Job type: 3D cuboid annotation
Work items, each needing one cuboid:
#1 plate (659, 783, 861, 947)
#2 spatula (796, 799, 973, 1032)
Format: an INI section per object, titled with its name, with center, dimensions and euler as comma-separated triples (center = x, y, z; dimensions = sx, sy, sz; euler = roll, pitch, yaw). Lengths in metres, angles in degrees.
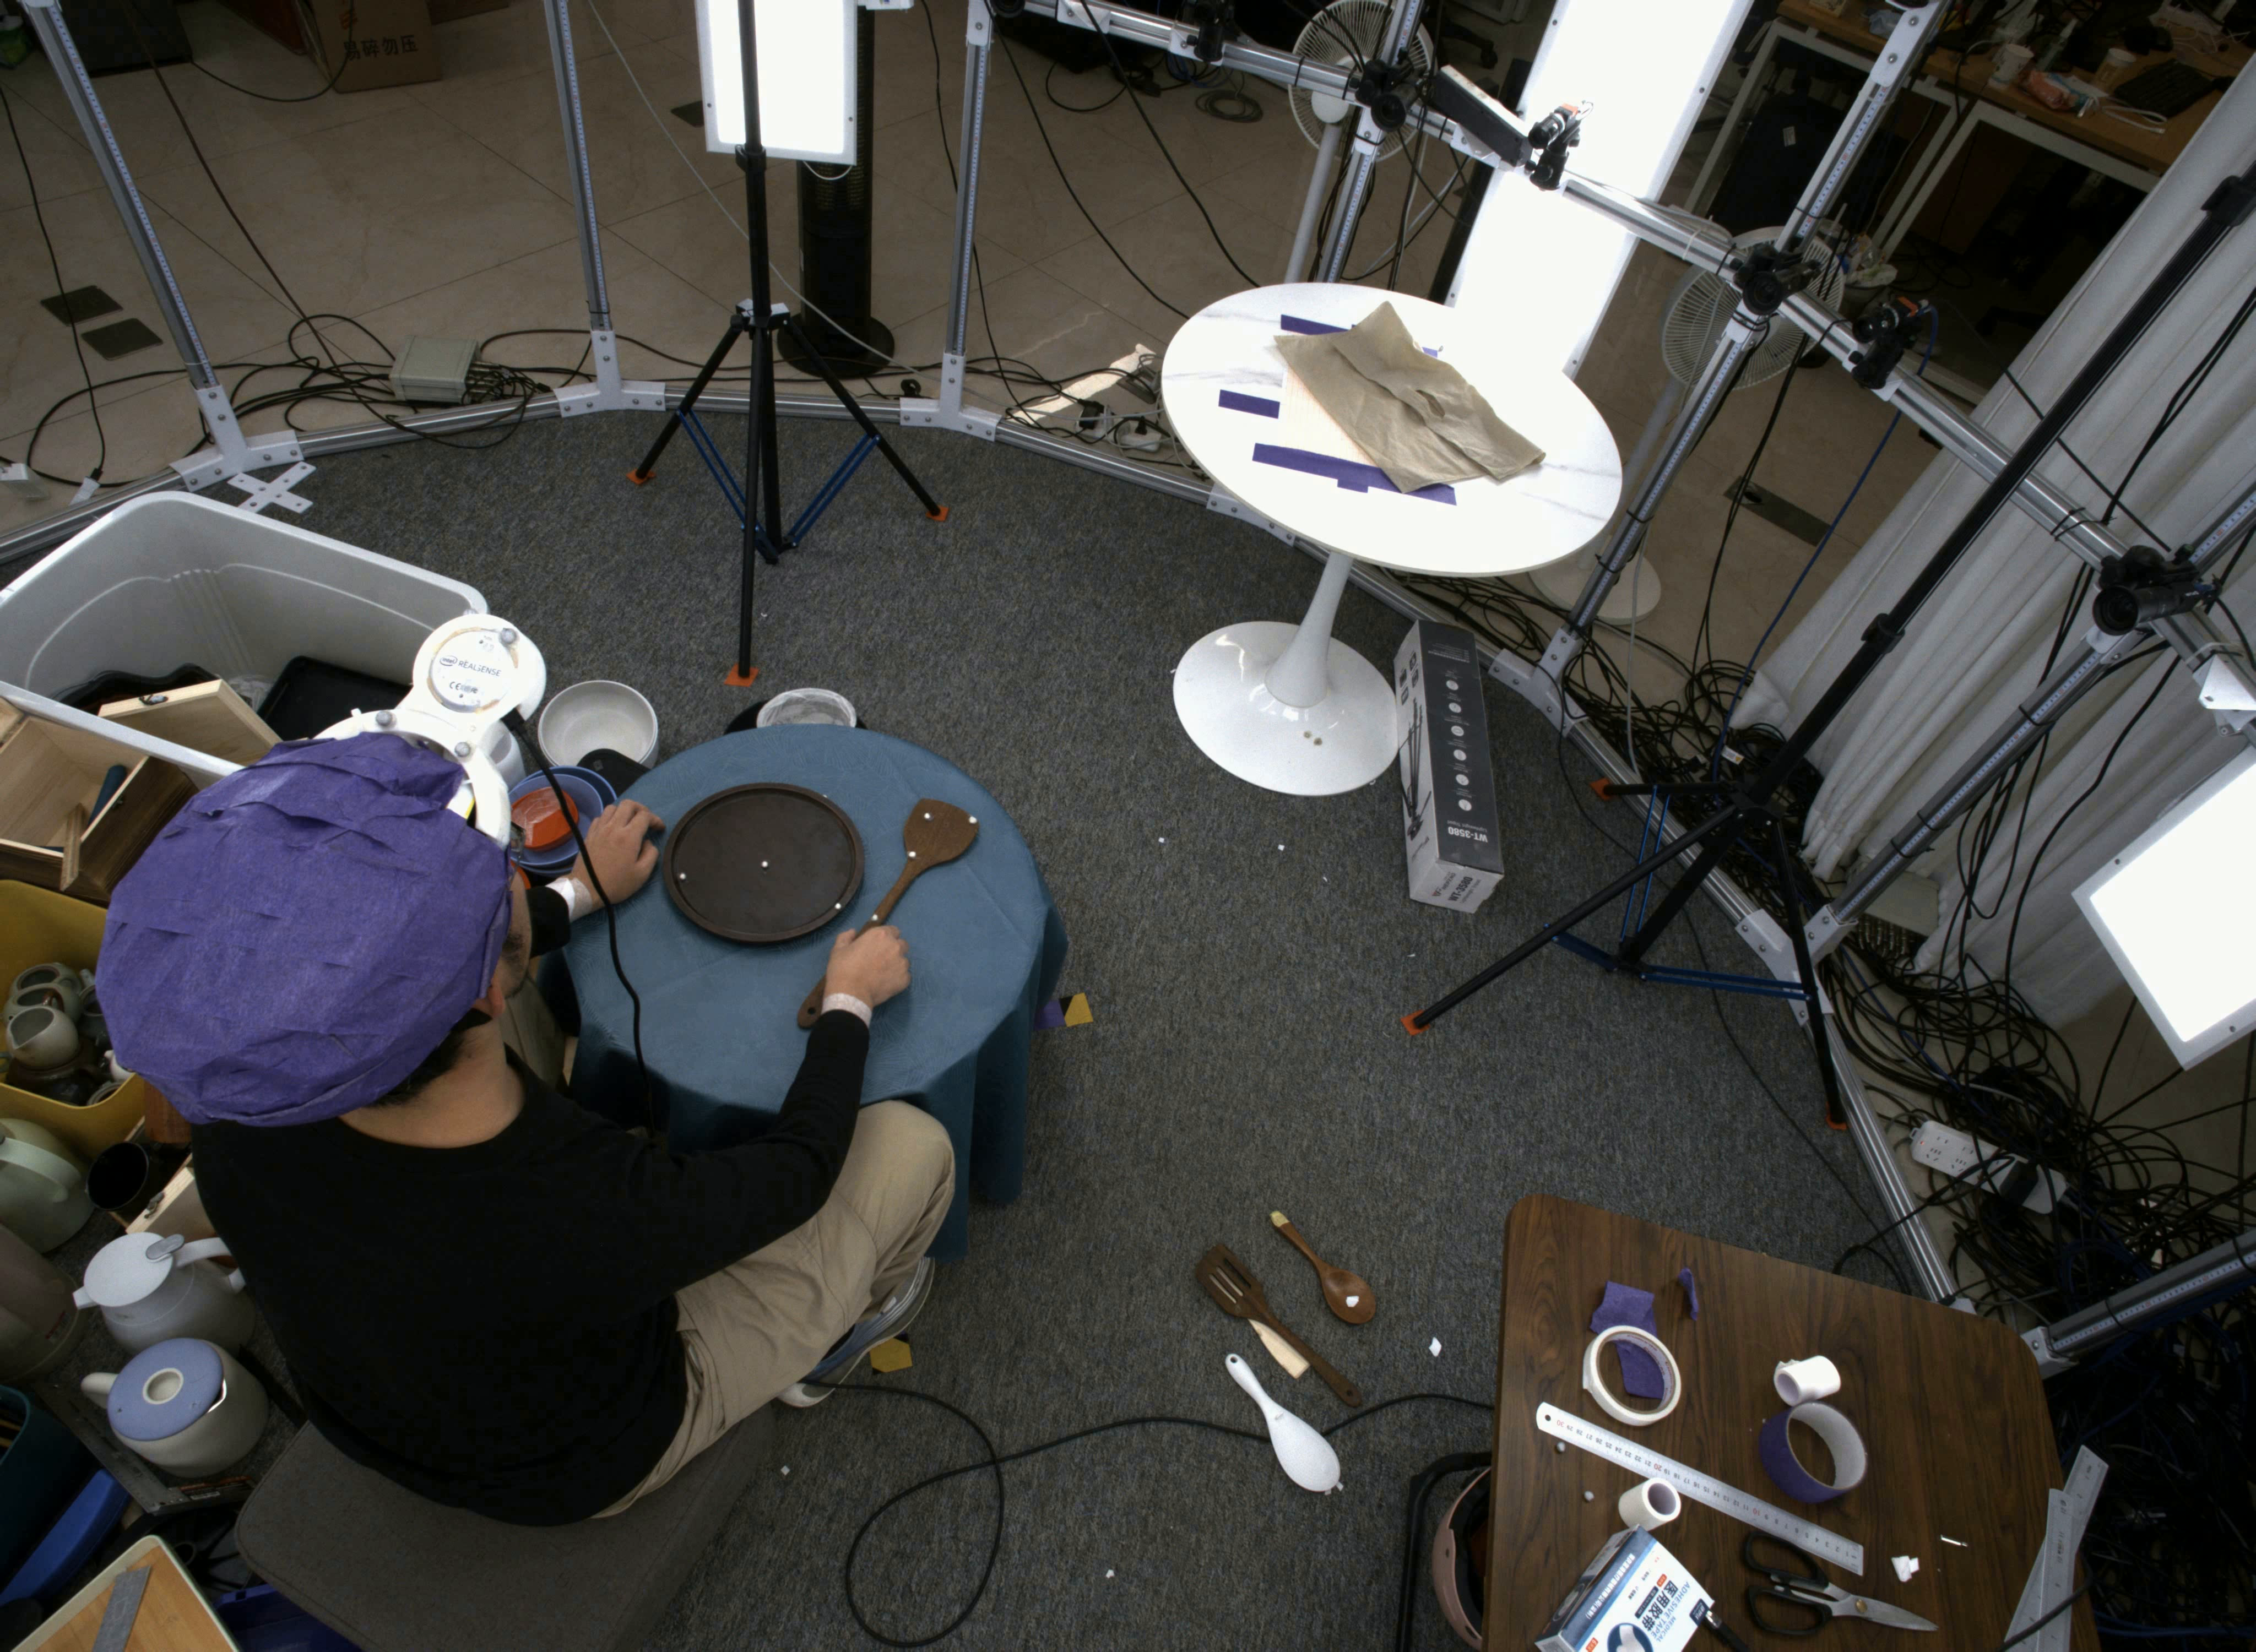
[plate]
center = -0.470, 0.047, 1.656
dimensions = 0.254, 0.029, 0.250
euler = 9, 53, -10
[spatula]
center = -0.317, 0.106, 1.658
dimensions = 0.095, 0.016, 0.383
euler = 25, 52, 5
